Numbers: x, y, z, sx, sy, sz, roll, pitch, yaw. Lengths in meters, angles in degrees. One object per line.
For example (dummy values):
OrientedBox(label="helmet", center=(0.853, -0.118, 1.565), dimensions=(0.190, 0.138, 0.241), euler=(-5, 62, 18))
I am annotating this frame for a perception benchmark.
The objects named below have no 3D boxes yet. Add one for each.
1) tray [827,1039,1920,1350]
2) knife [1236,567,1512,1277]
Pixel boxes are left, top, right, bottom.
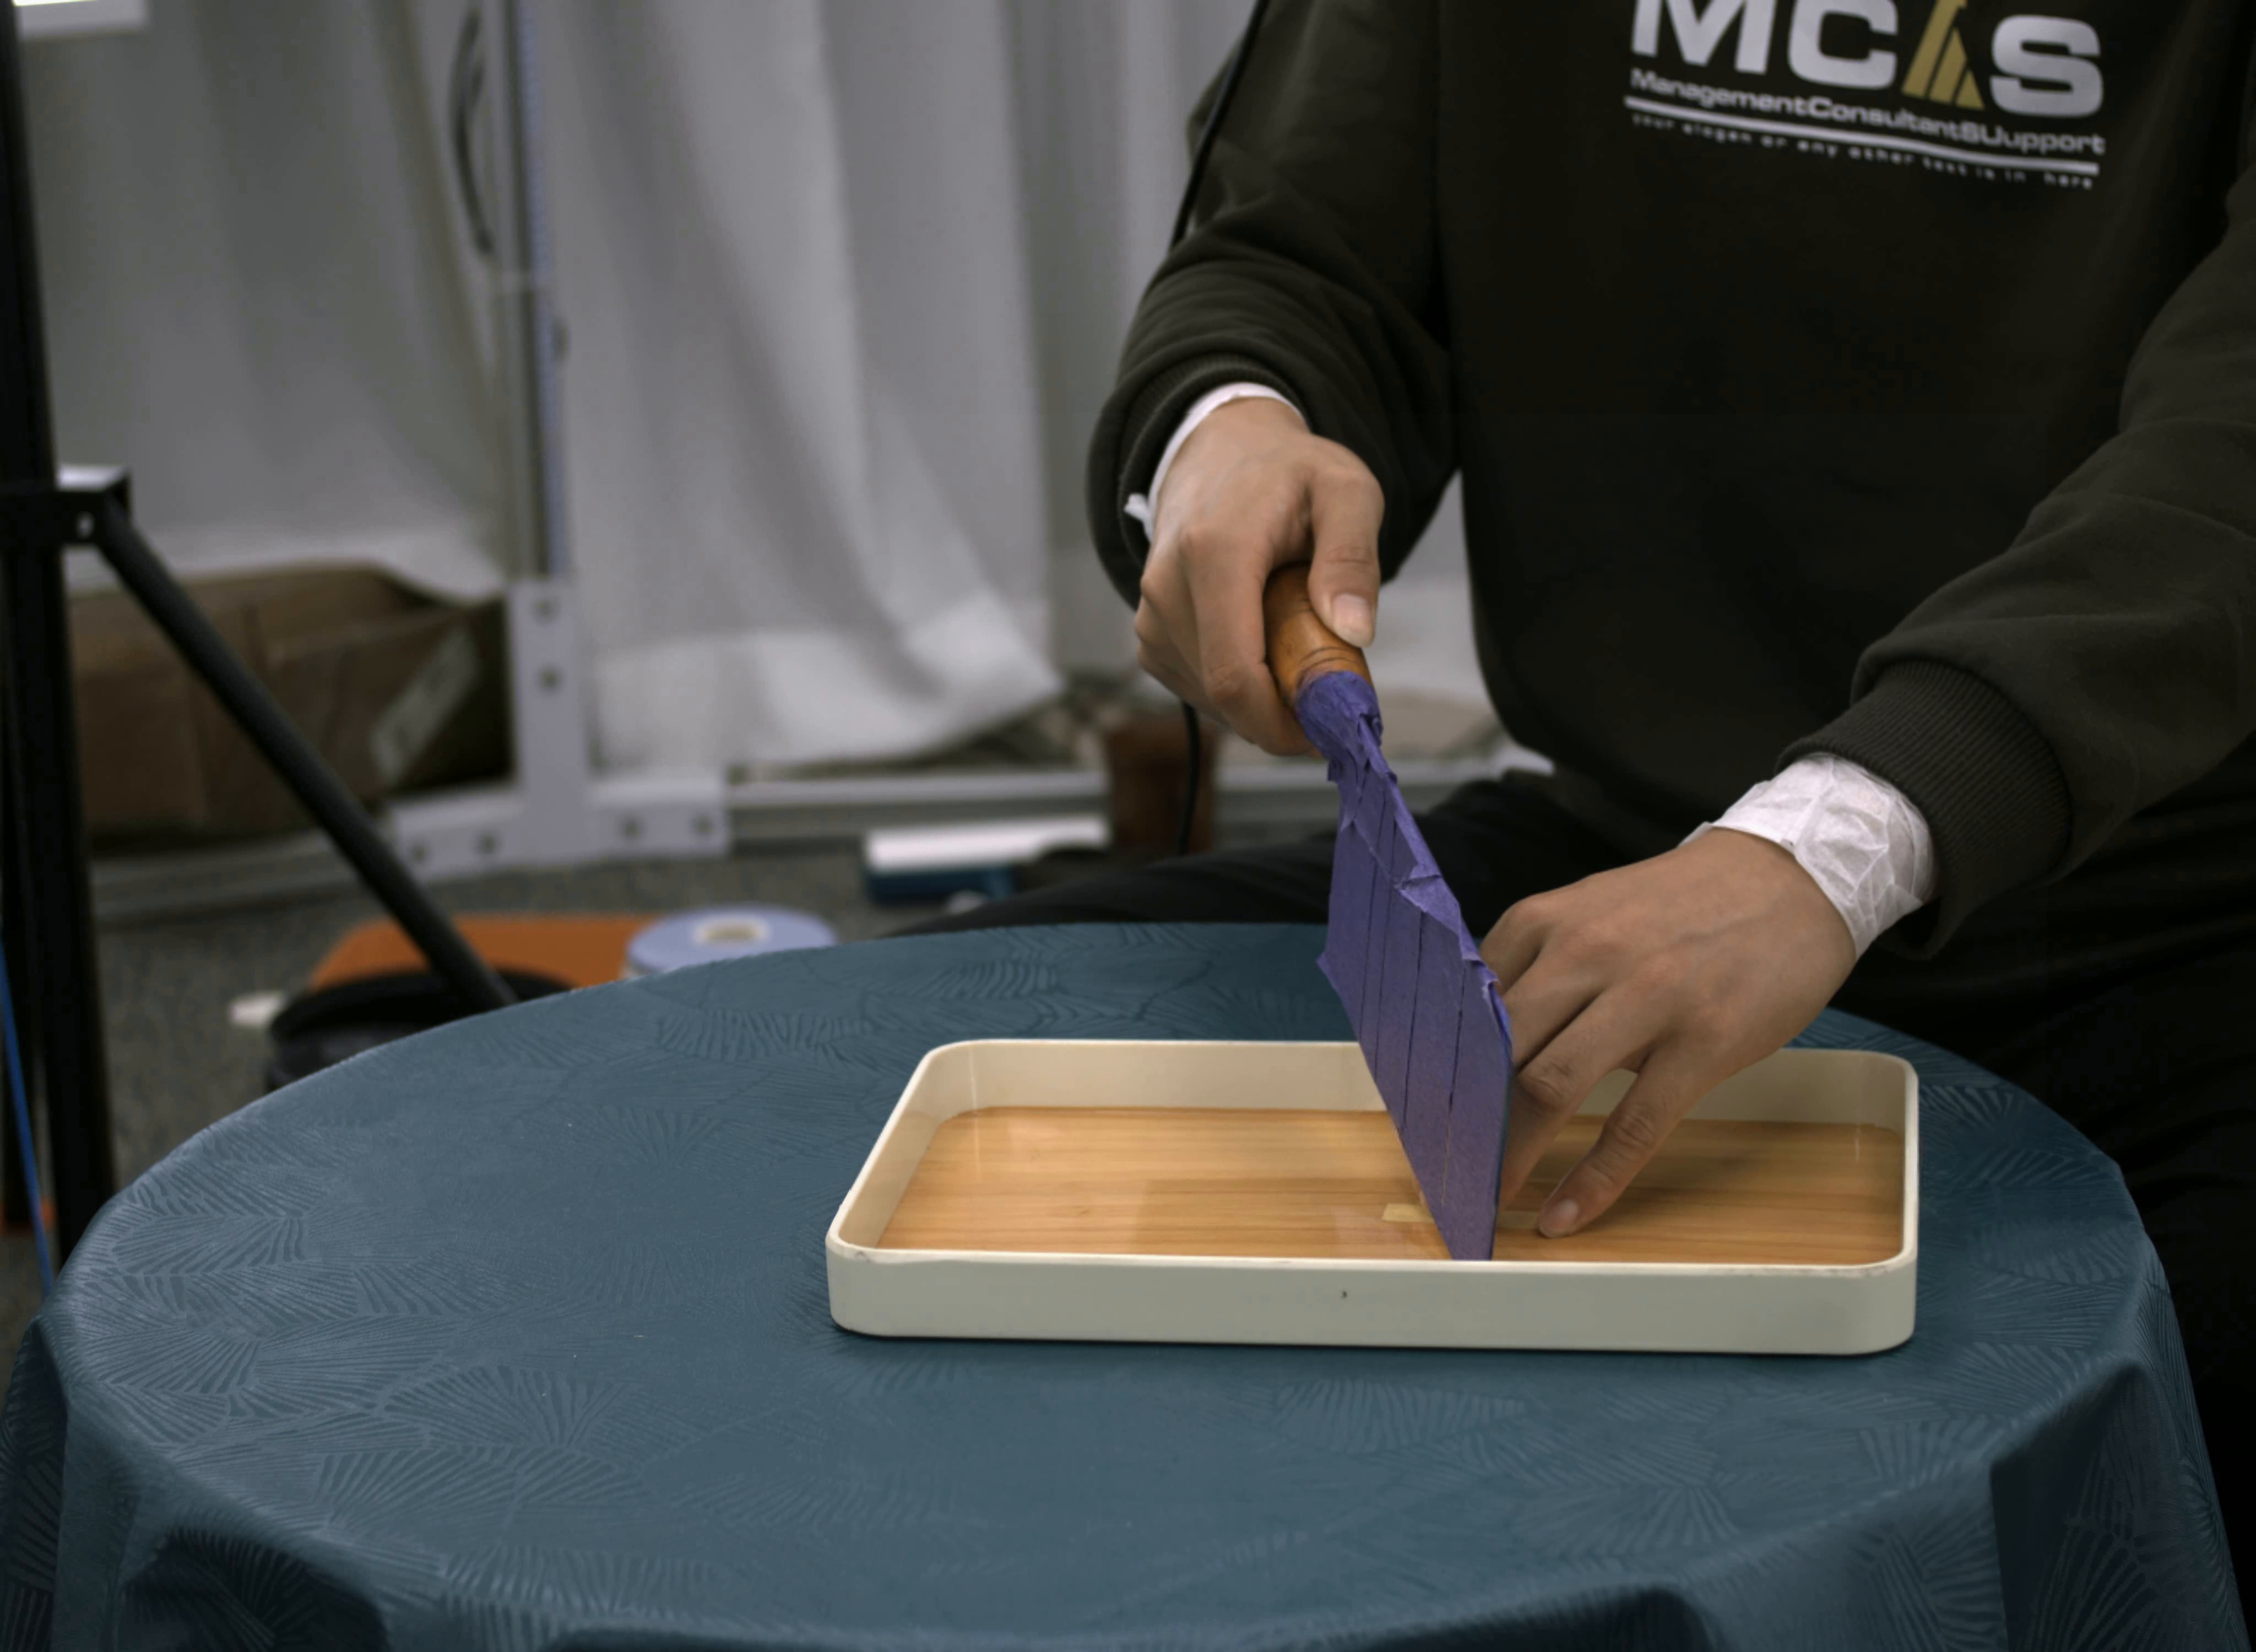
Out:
OrientedBox(label="tray", center=(0.075, 0.104, 1.516), dimensions=(0.301, 0.027, 0.191), euler=(0, 16, 10))
OrientedBox(label="knife", center=(0.068, 0.024, 1.553), dimensions=(0.032, 0.104, 0.319), euler=(2, 25, -10))
